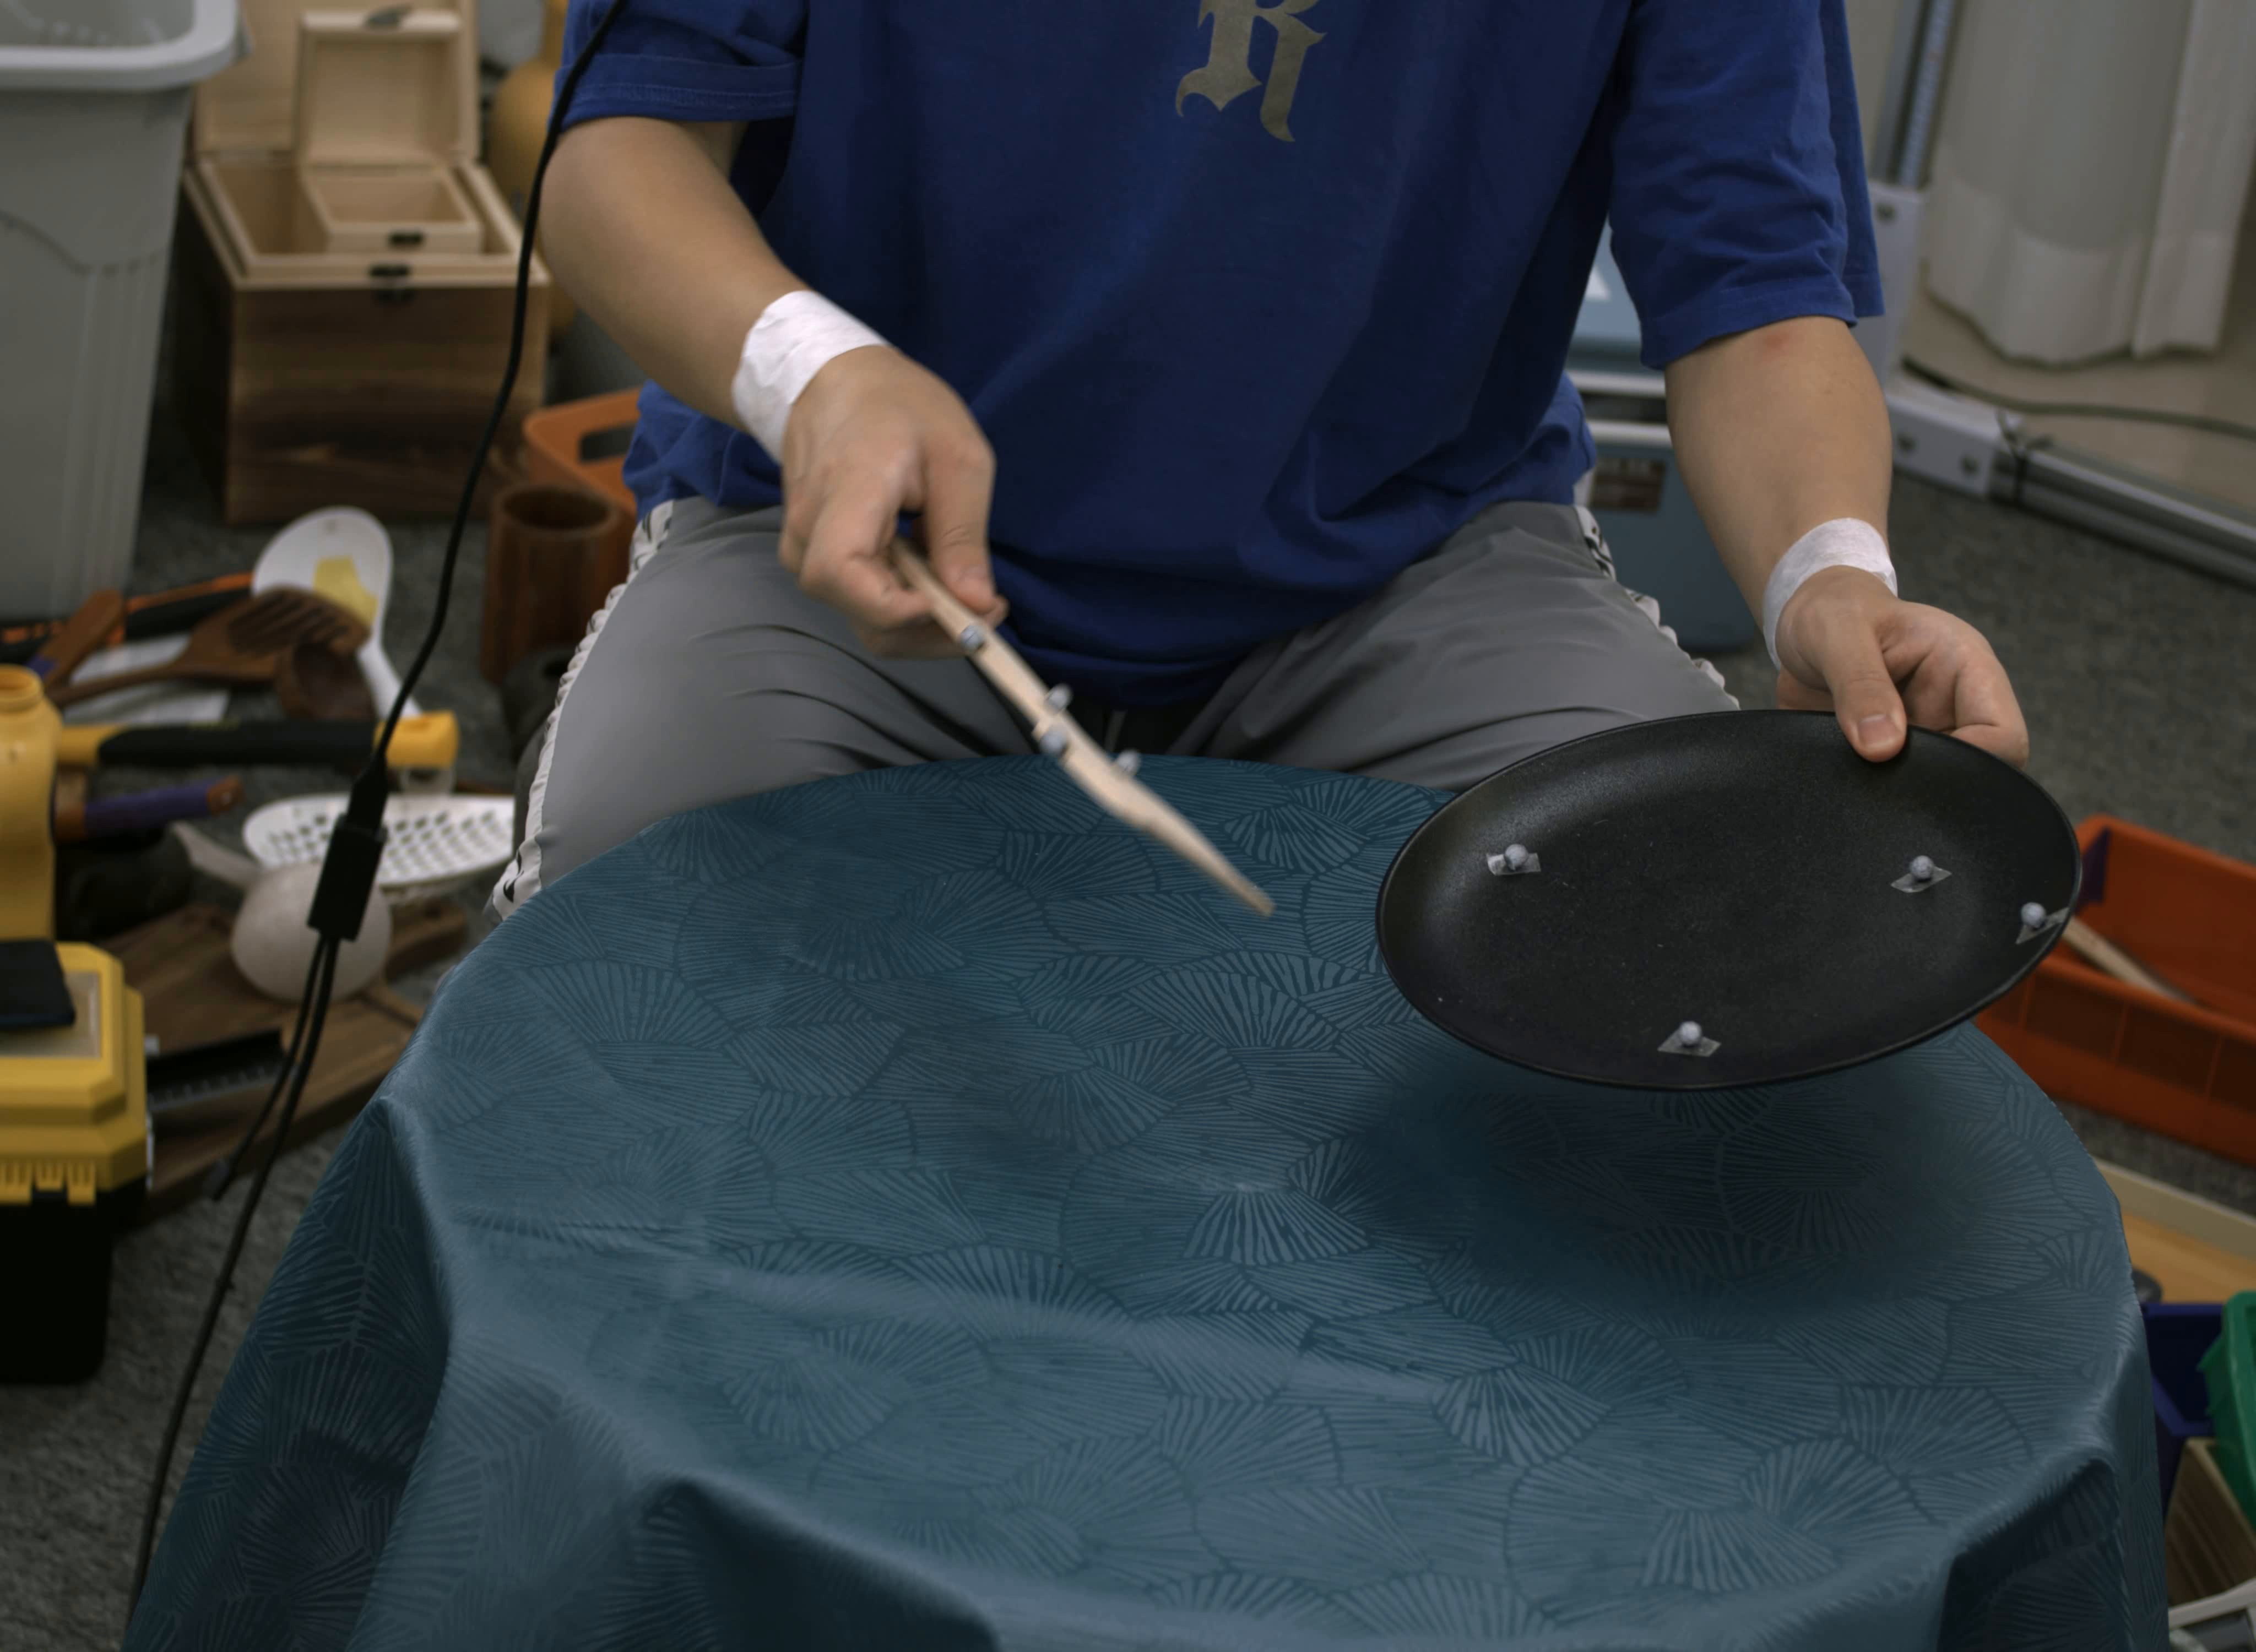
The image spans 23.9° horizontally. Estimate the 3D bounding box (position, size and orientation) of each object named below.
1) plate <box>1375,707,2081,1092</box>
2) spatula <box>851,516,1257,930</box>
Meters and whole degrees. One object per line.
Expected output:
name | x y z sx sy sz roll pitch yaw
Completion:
plate | 0.206 0.029 1.834 0.244 0.023 0.246 -8 30 4
spatula | -0.039 -0.045 1.882 0.071 0.010 0.296 34 9 -36
